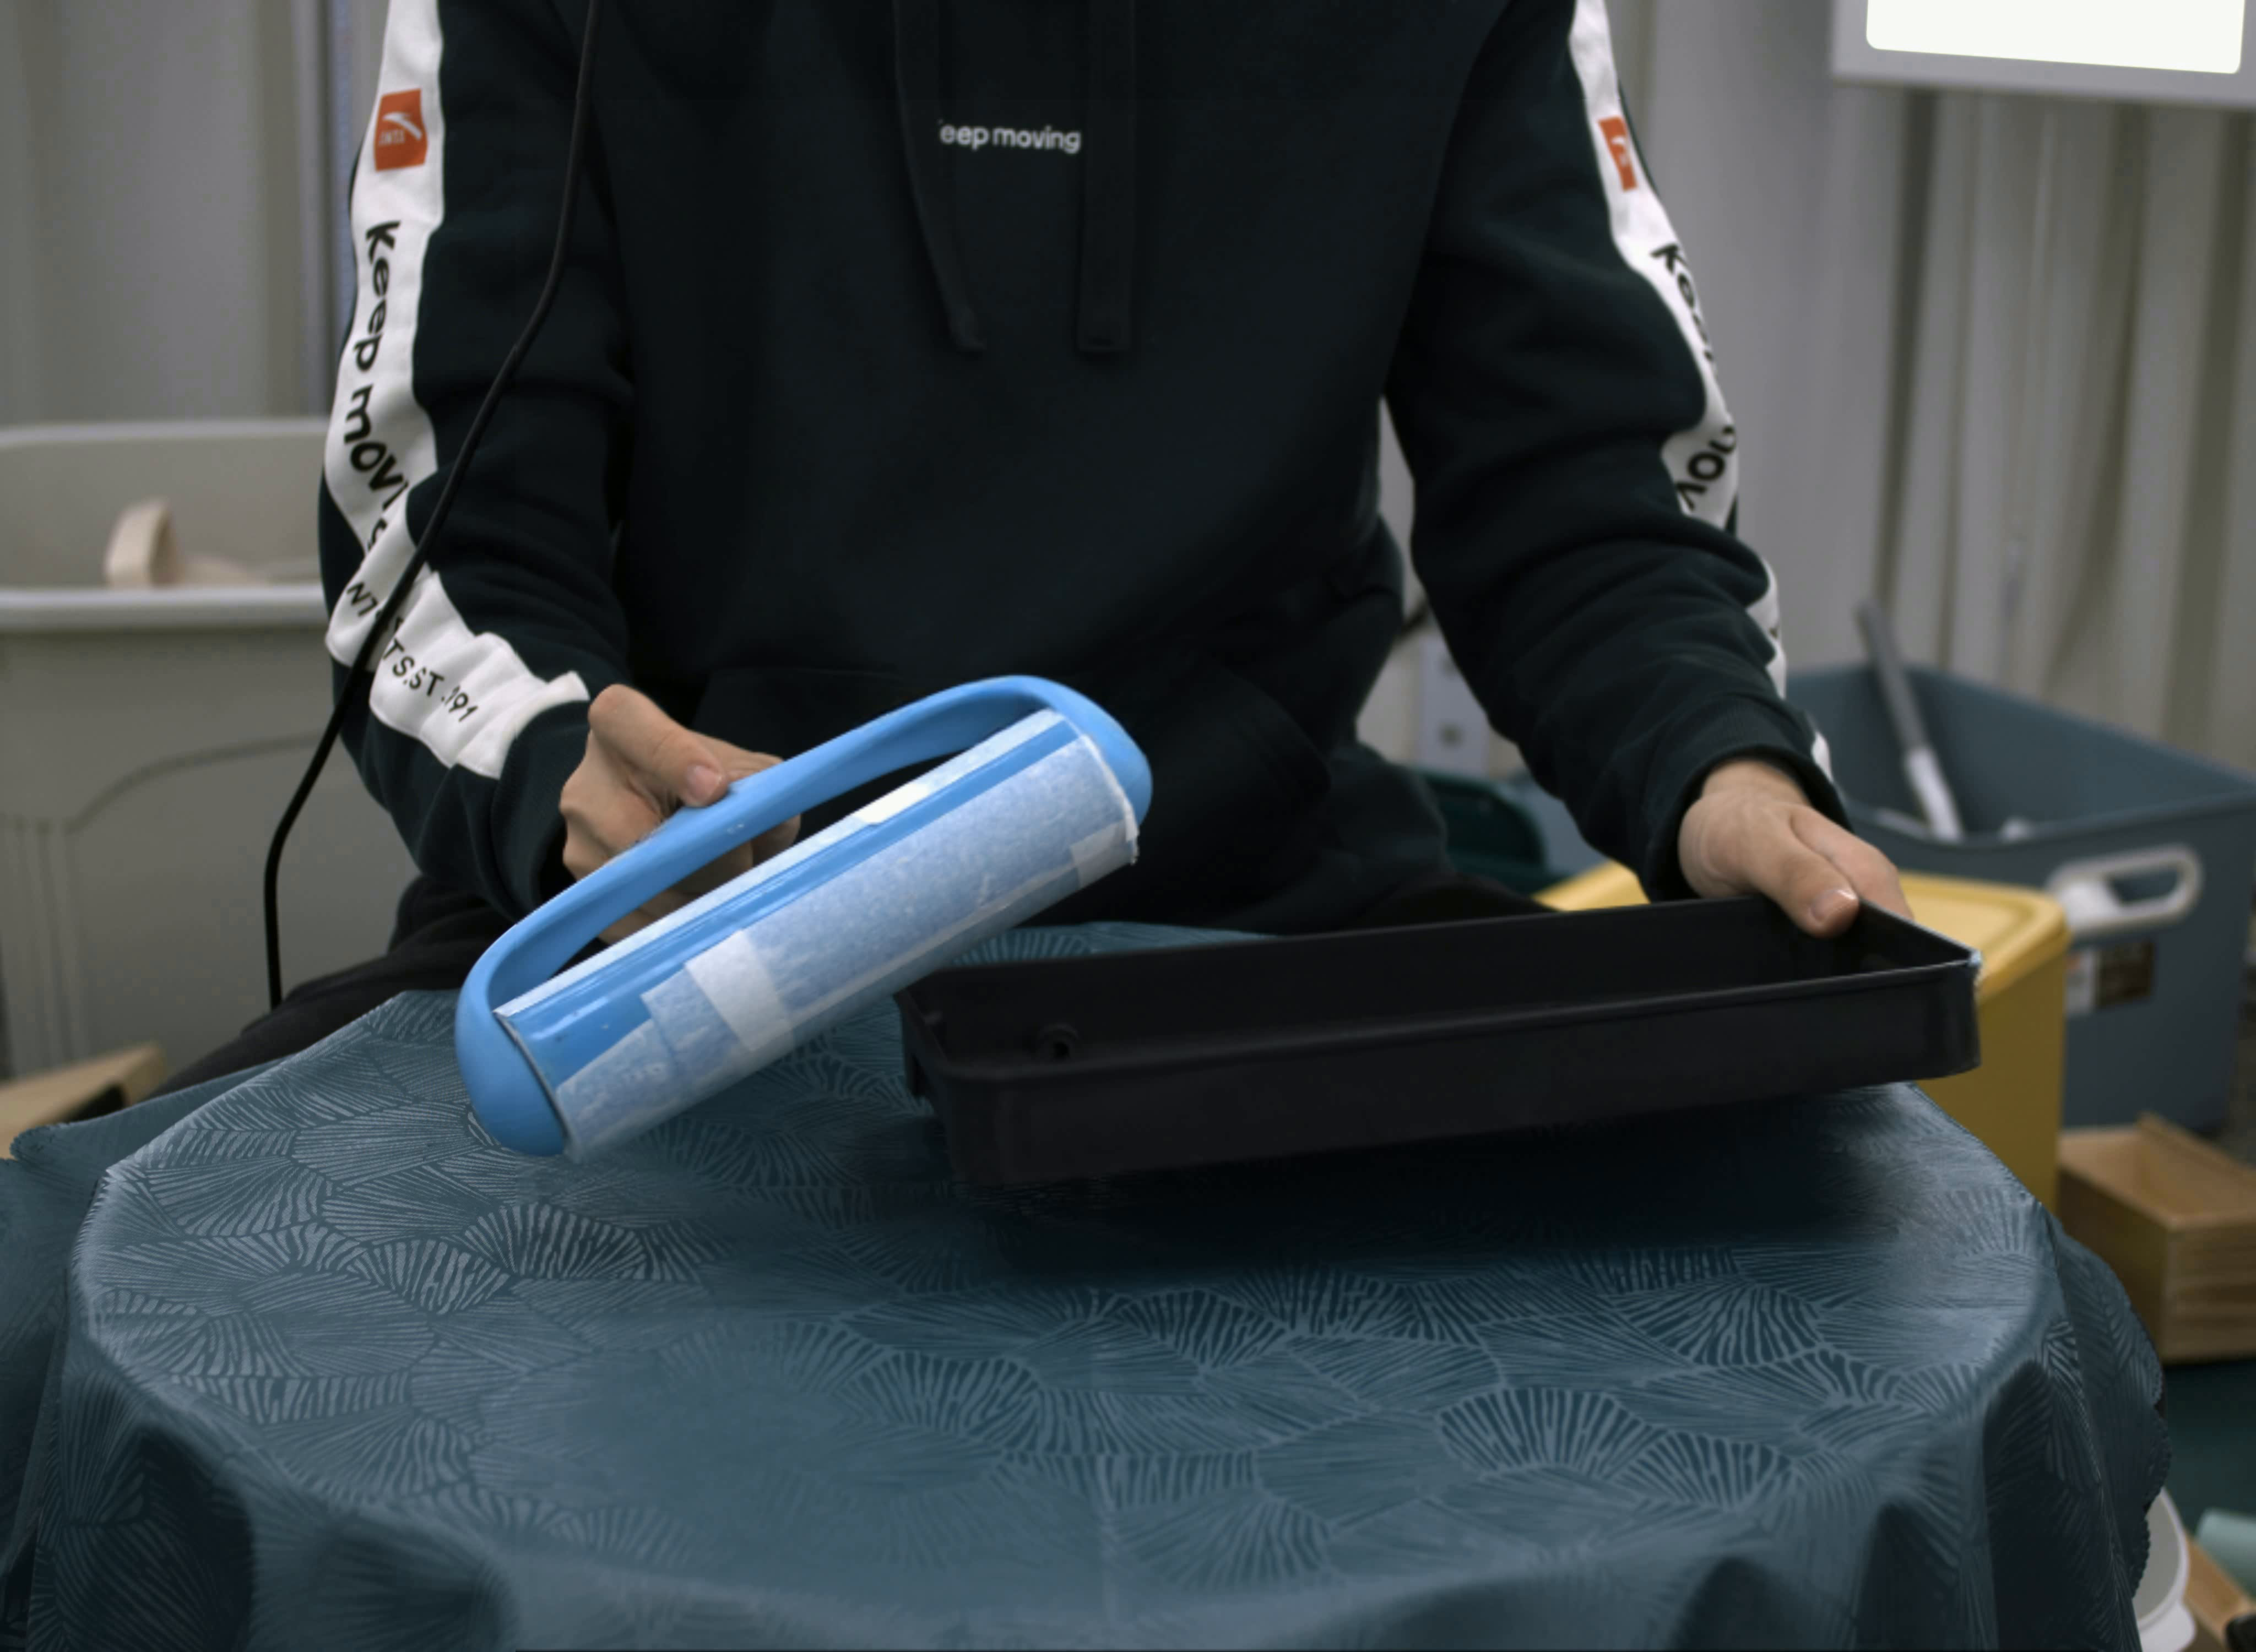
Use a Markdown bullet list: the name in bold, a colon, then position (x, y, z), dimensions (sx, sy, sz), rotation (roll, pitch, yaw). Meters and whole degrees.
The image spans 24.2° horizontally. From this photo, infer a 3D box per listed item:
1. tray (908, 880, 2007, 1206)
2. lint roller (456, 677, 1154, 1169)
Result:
- **tray**: position (0.098, 0.064, 1.625), dimensions (0.318, 0.037, 0.183), rotation (-8, 8, -9)
- **lint roller**: position (-0.117, 0.020, 1.616), dimensions (0.229, 0.068, 0.178), rotation (-31, 22, -16)
